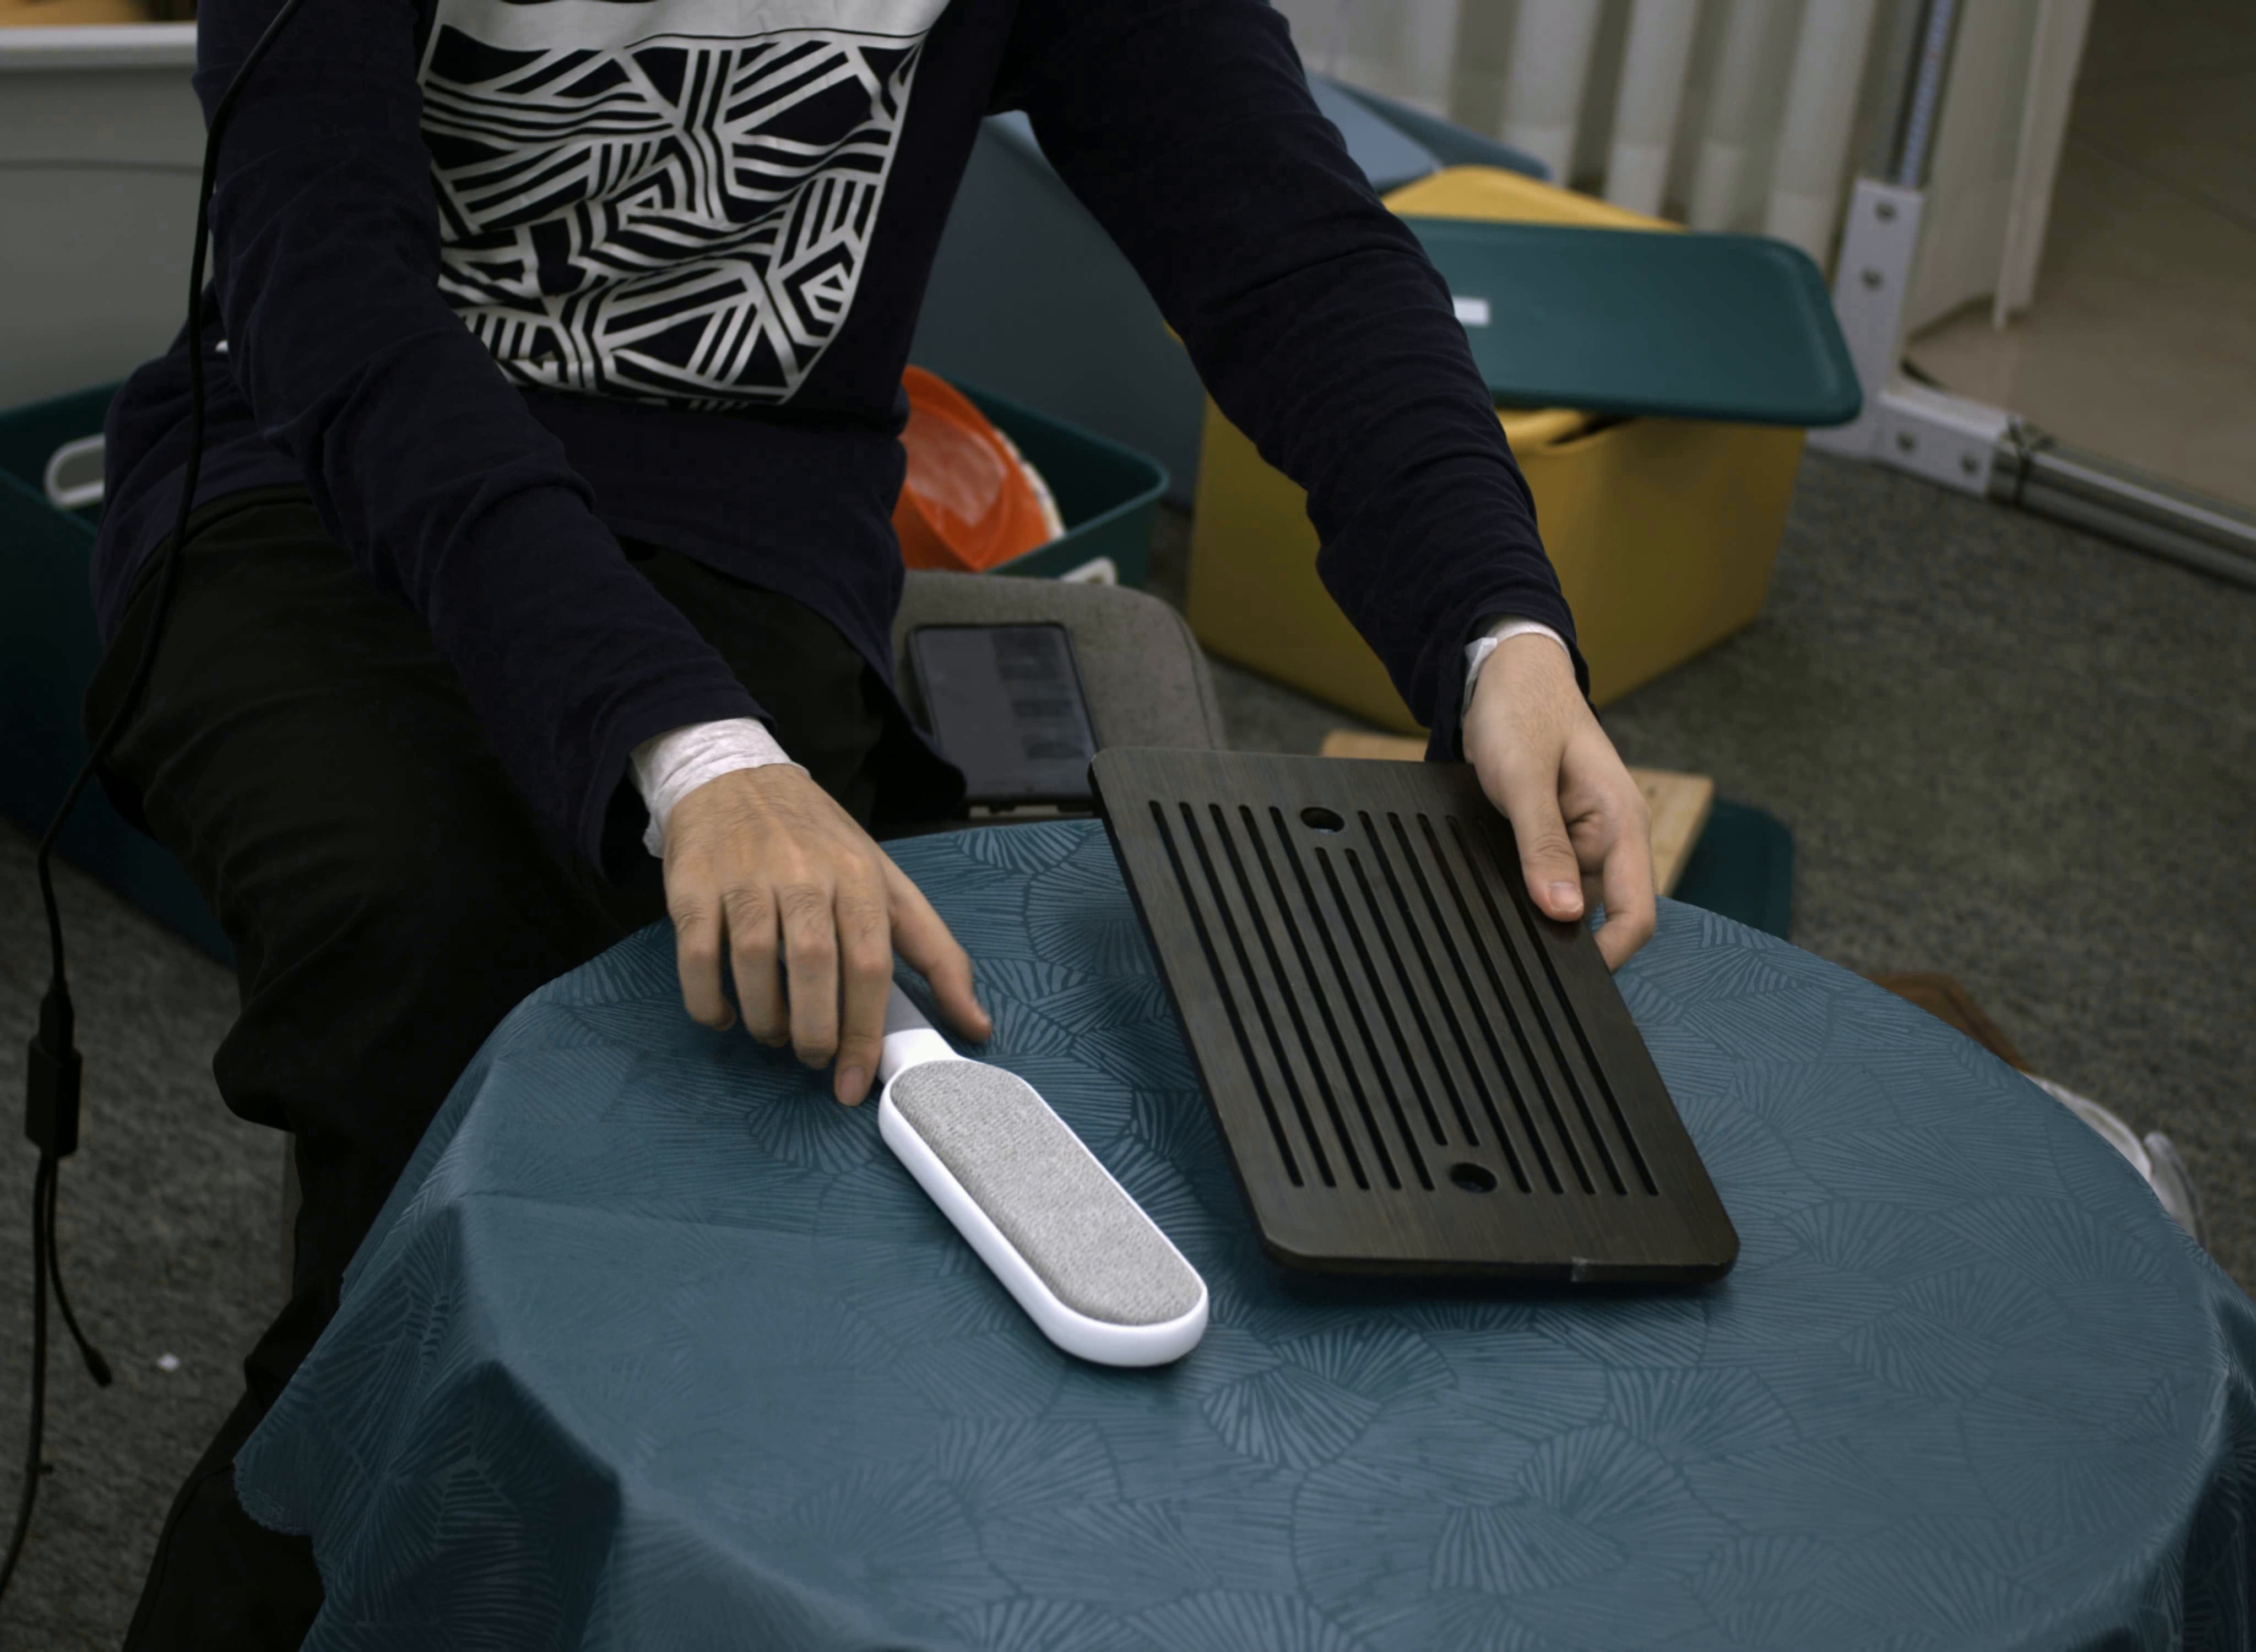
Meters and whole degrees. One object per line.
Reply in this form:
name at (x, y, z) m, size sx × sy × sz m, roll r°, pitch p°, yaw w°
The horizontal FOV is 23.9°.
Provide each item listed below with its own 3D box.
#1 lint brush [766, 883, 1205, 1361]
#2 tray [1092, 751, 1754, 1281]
lint brush at (-0.056, 0.096, 1.818) m, size 0.060 × 0.021 × 0.312 m, roll -12°, pitch 32°, yaw -23°
tray at (0.098, 0.065, 1.884) m, size 0.169 × 0.018 × 0.309 m, roll 1°, pitch 33°, yaw -16°
